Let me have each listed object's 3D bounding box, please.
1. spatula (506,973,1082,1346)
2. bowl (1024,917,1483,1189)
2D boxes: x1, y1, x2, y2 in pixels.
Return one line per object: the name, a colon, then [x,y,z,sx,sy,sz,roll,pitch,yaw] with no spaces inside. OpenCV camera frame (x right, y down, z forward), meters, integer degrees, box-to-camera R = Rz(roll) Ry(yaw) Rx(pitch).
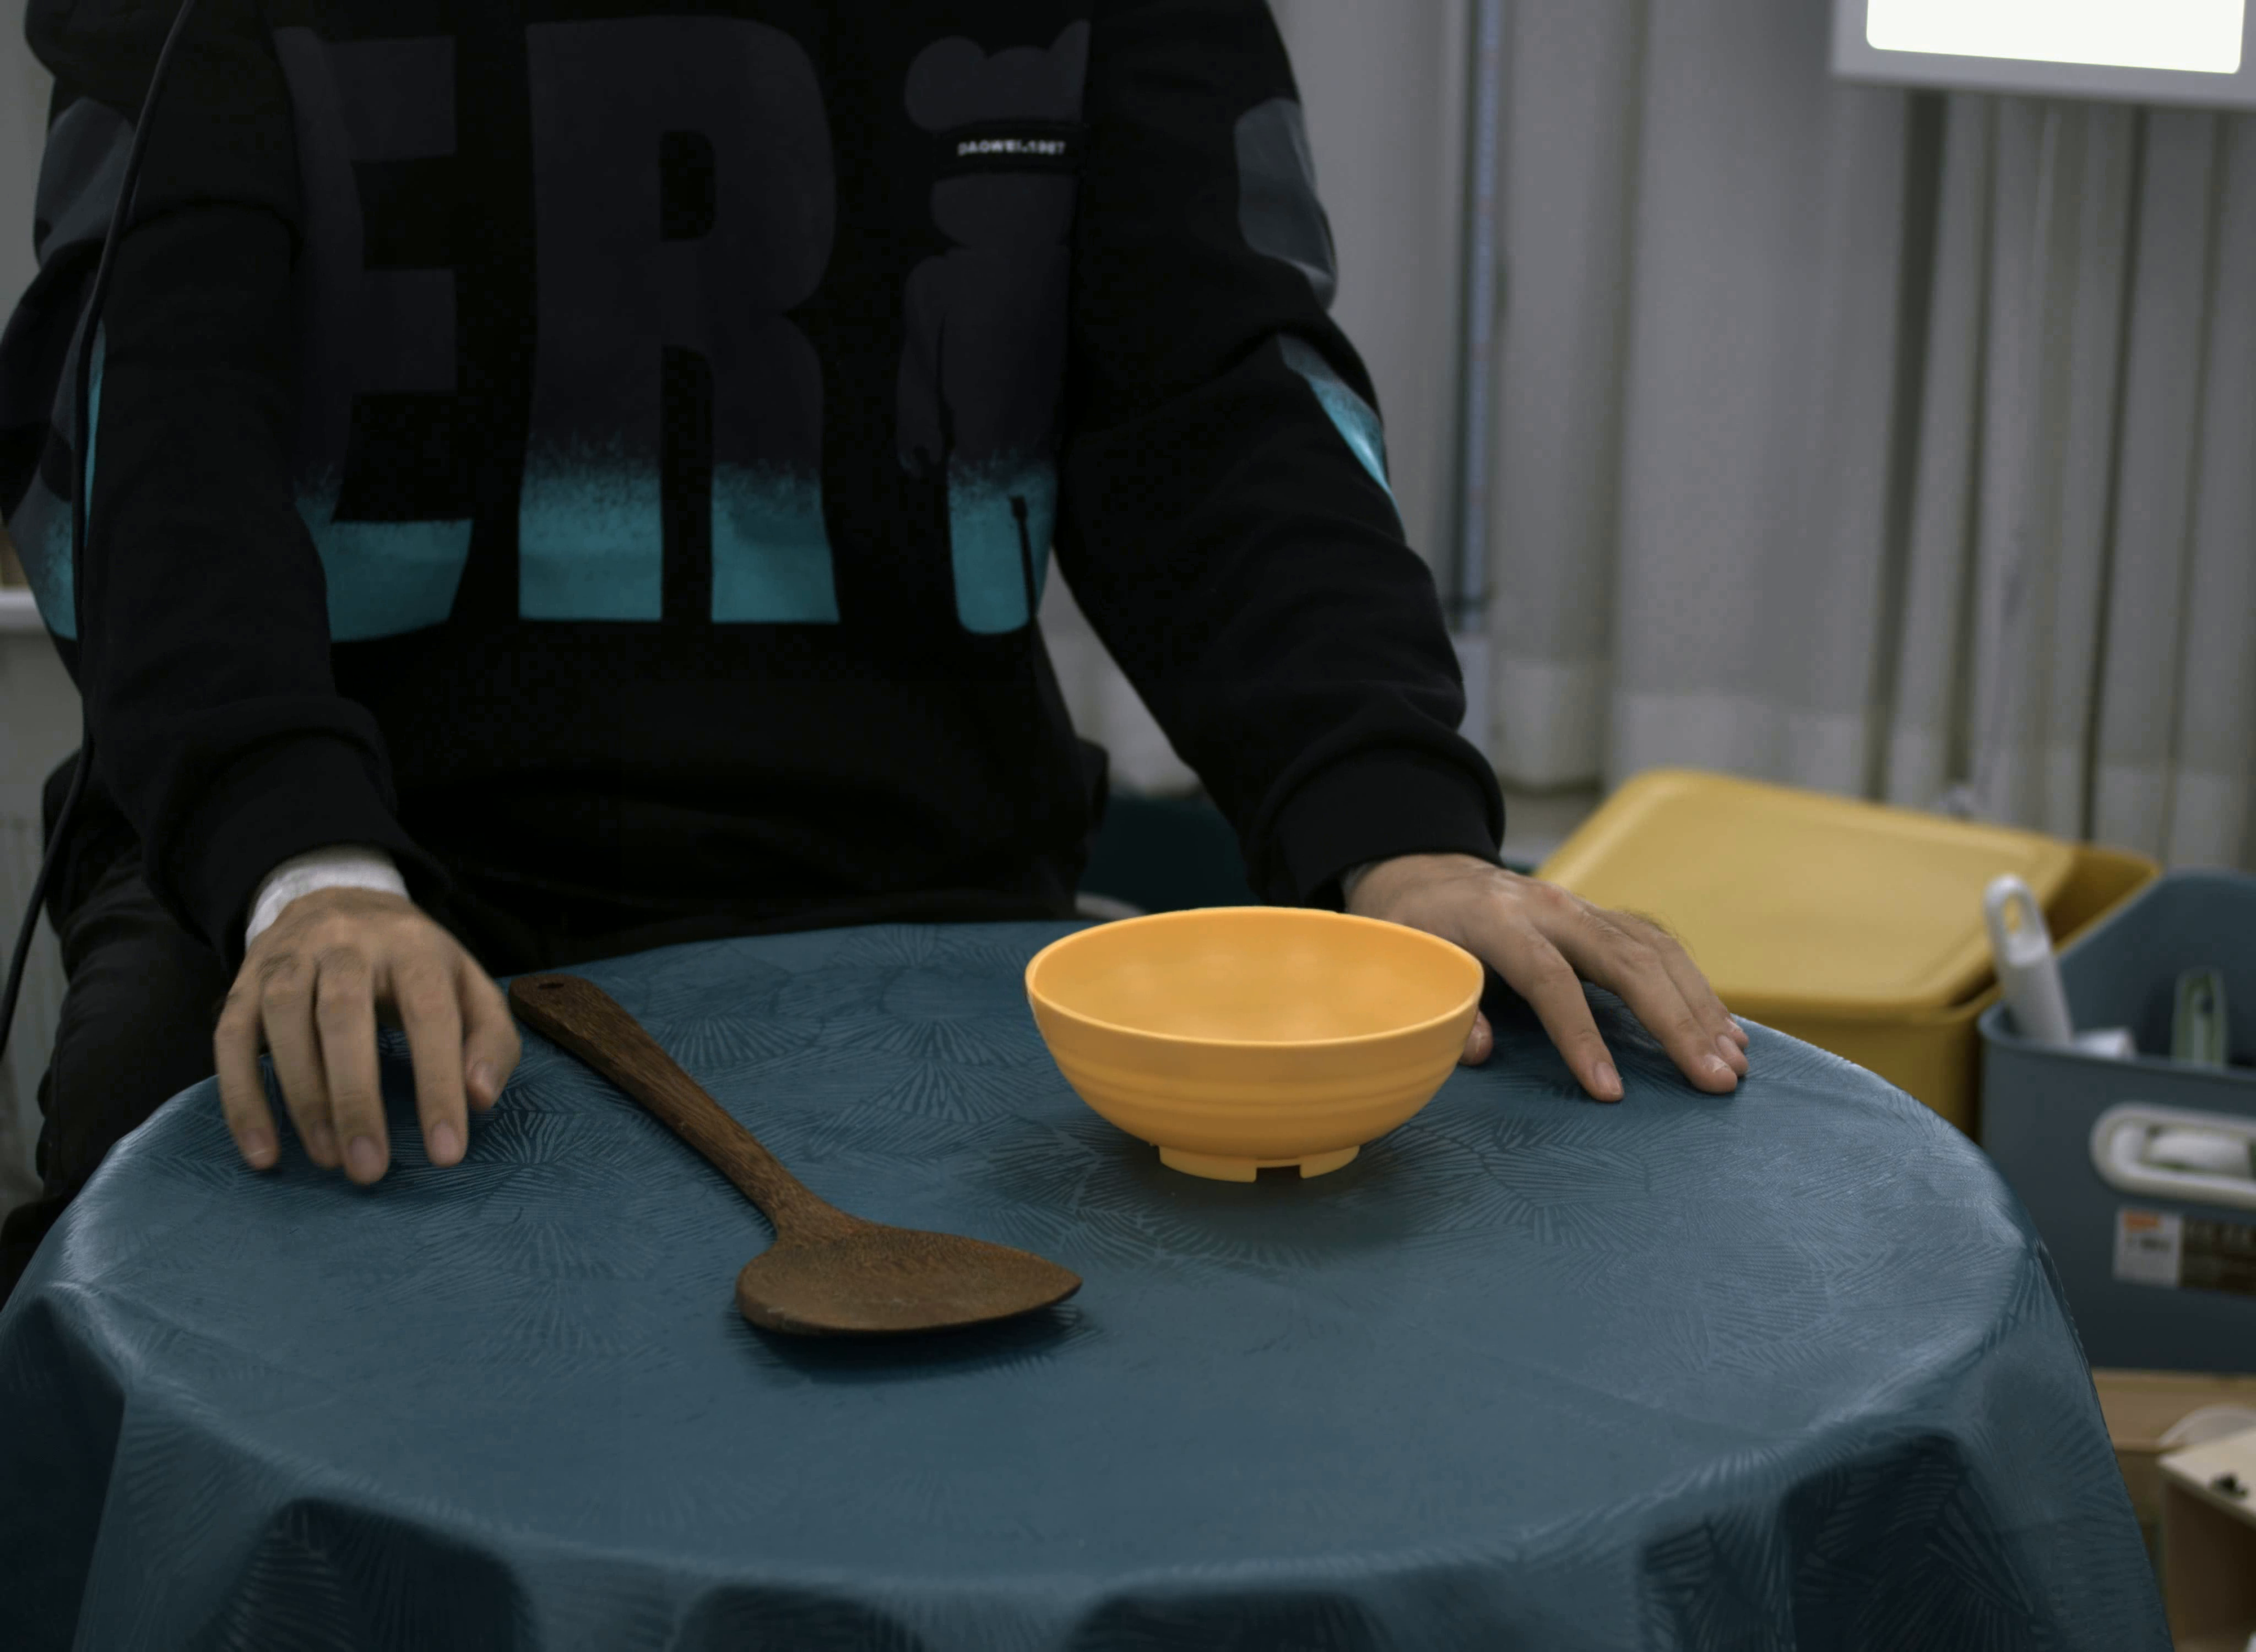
spatula: [-0.127,0.098,1.647,0.096,0.016,0.381,-6,17,-24]
bowl: [0.038,0.076,1.657,0.145,0.060,0.144,3,14,0]
